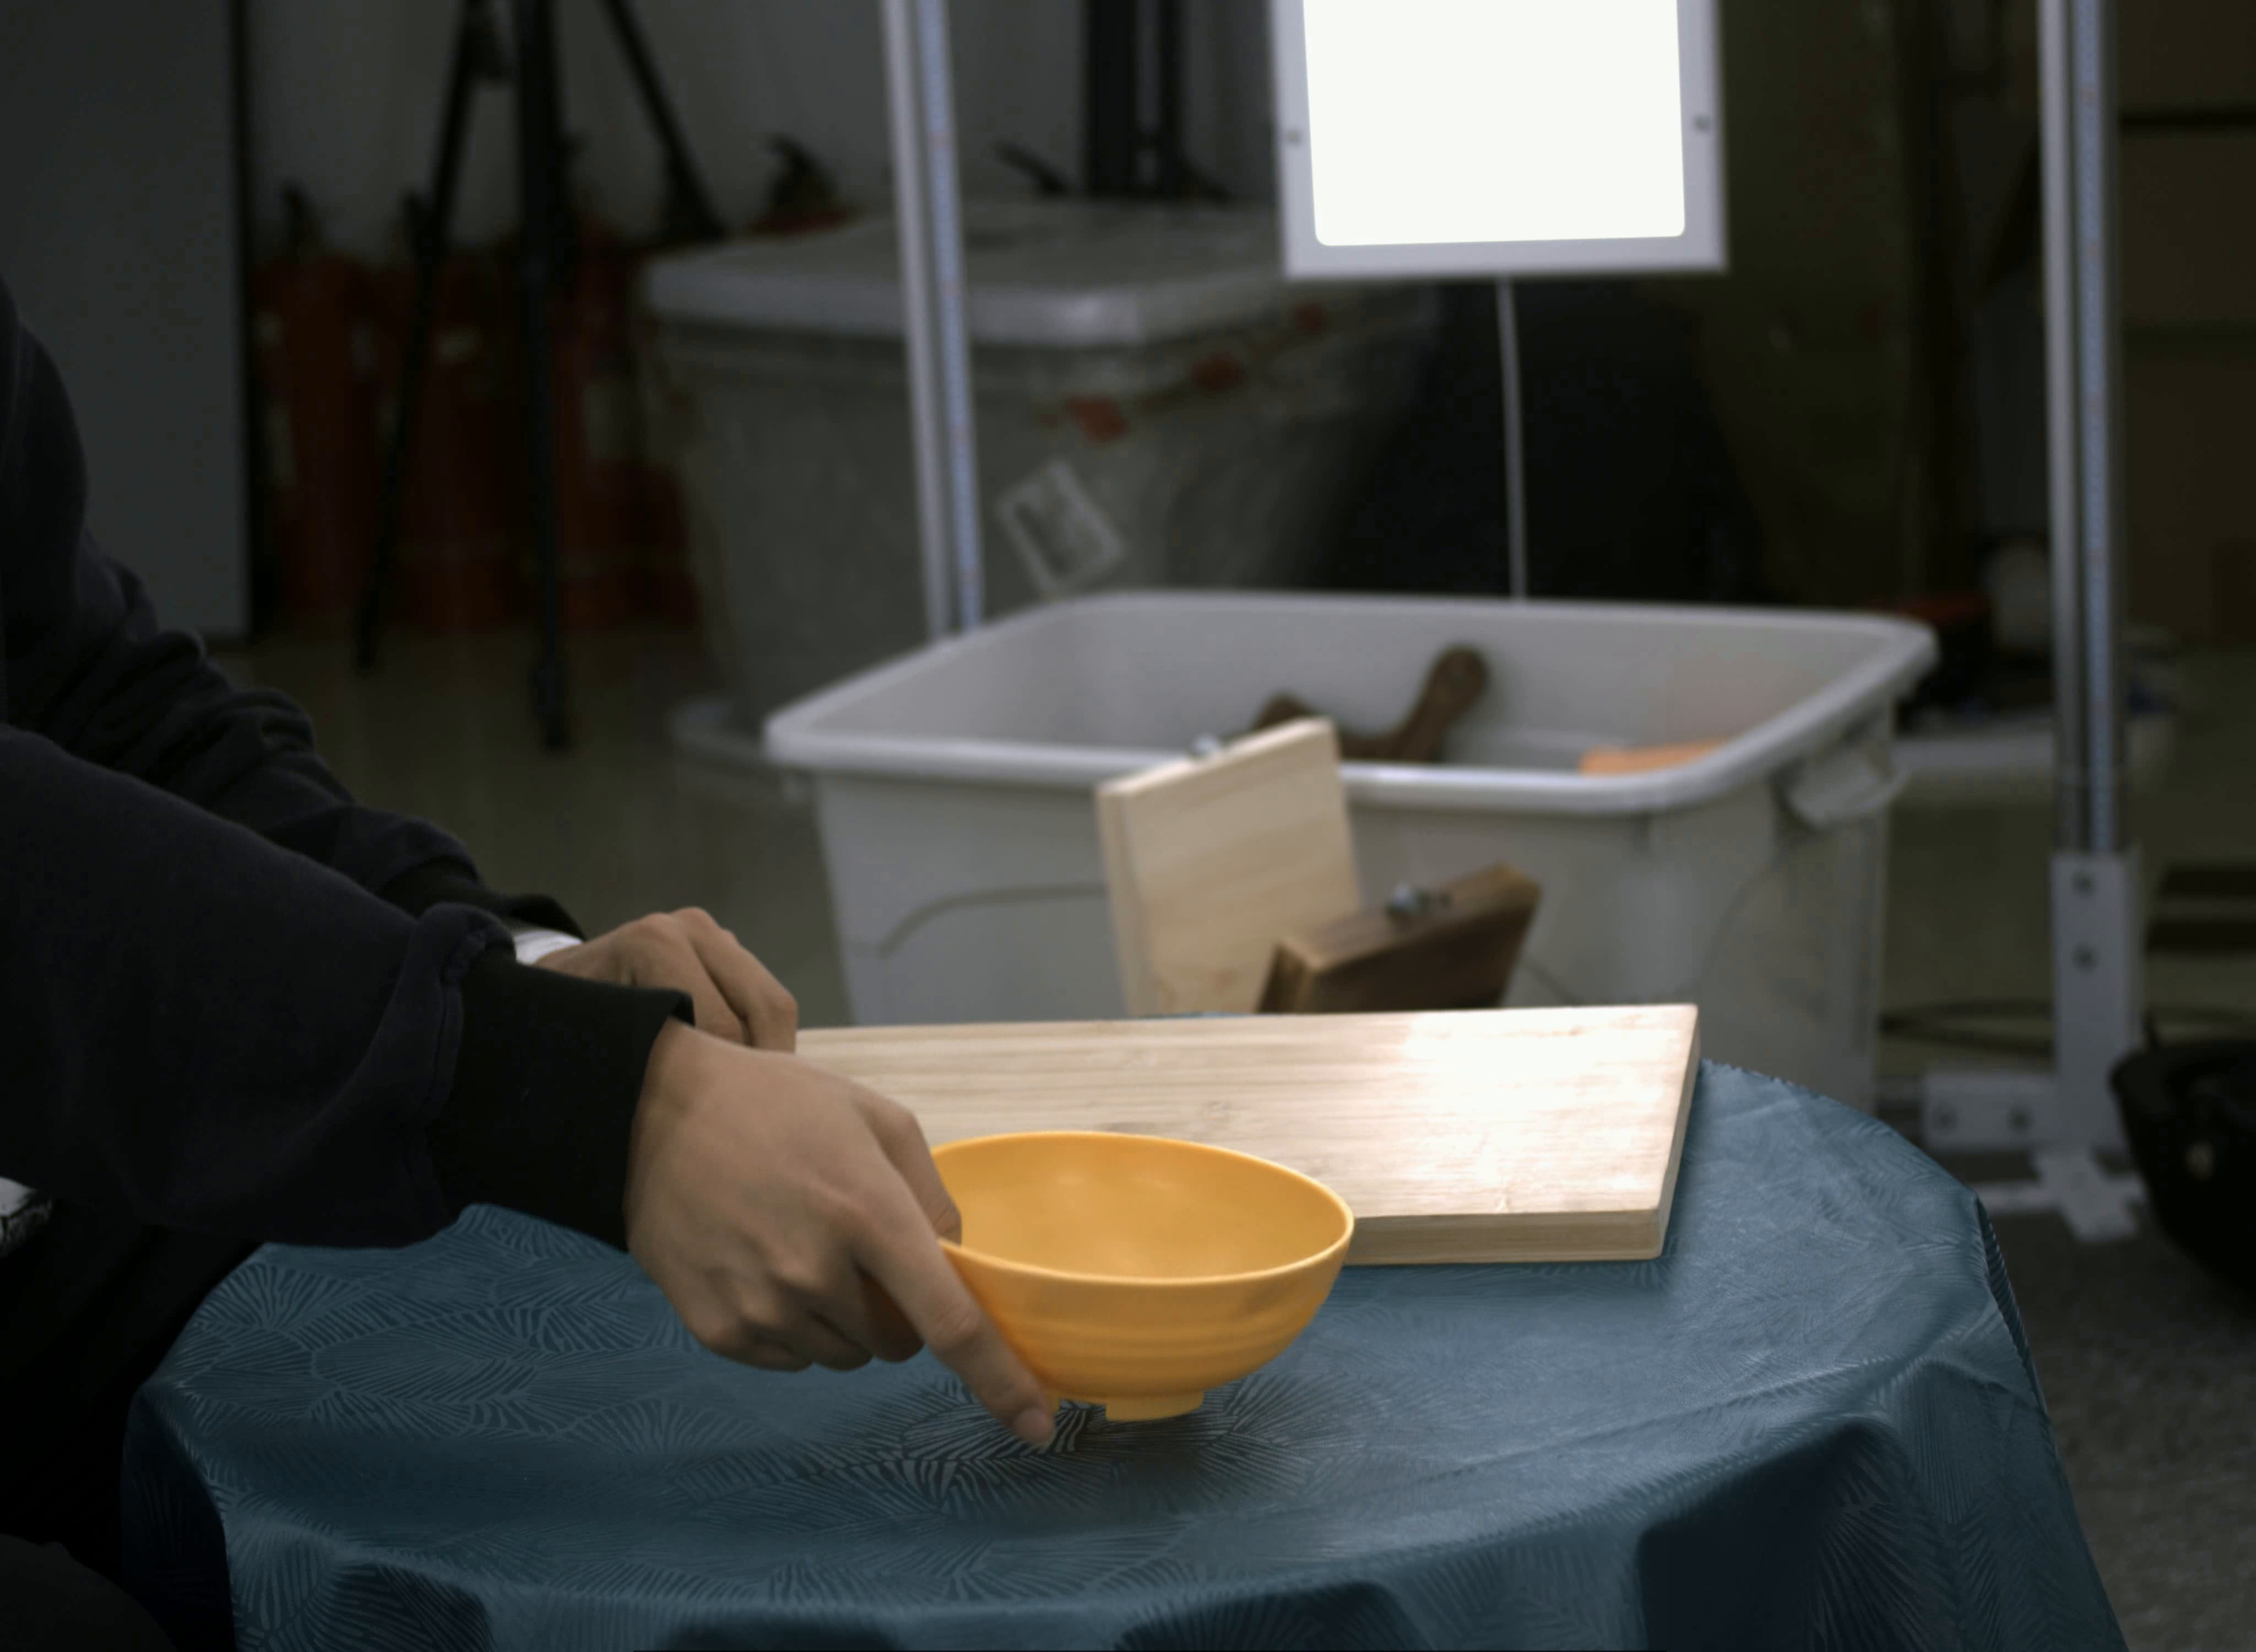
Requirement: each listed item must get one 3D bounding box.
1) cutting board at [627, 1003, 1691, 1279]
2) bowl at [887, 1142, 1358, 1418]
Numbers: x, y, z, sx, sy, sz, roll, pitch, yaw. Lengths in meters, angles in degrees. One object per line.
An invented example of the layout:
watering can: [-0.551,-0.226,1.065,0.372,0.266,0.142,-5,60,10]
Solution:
cutting board: [0.019,0.109,1.928,0.351,0.023,0.248,-2,14,10]
bowl: [-0.004,0.141,1.666,0.145,0.060,0.145,4,11,-2]
